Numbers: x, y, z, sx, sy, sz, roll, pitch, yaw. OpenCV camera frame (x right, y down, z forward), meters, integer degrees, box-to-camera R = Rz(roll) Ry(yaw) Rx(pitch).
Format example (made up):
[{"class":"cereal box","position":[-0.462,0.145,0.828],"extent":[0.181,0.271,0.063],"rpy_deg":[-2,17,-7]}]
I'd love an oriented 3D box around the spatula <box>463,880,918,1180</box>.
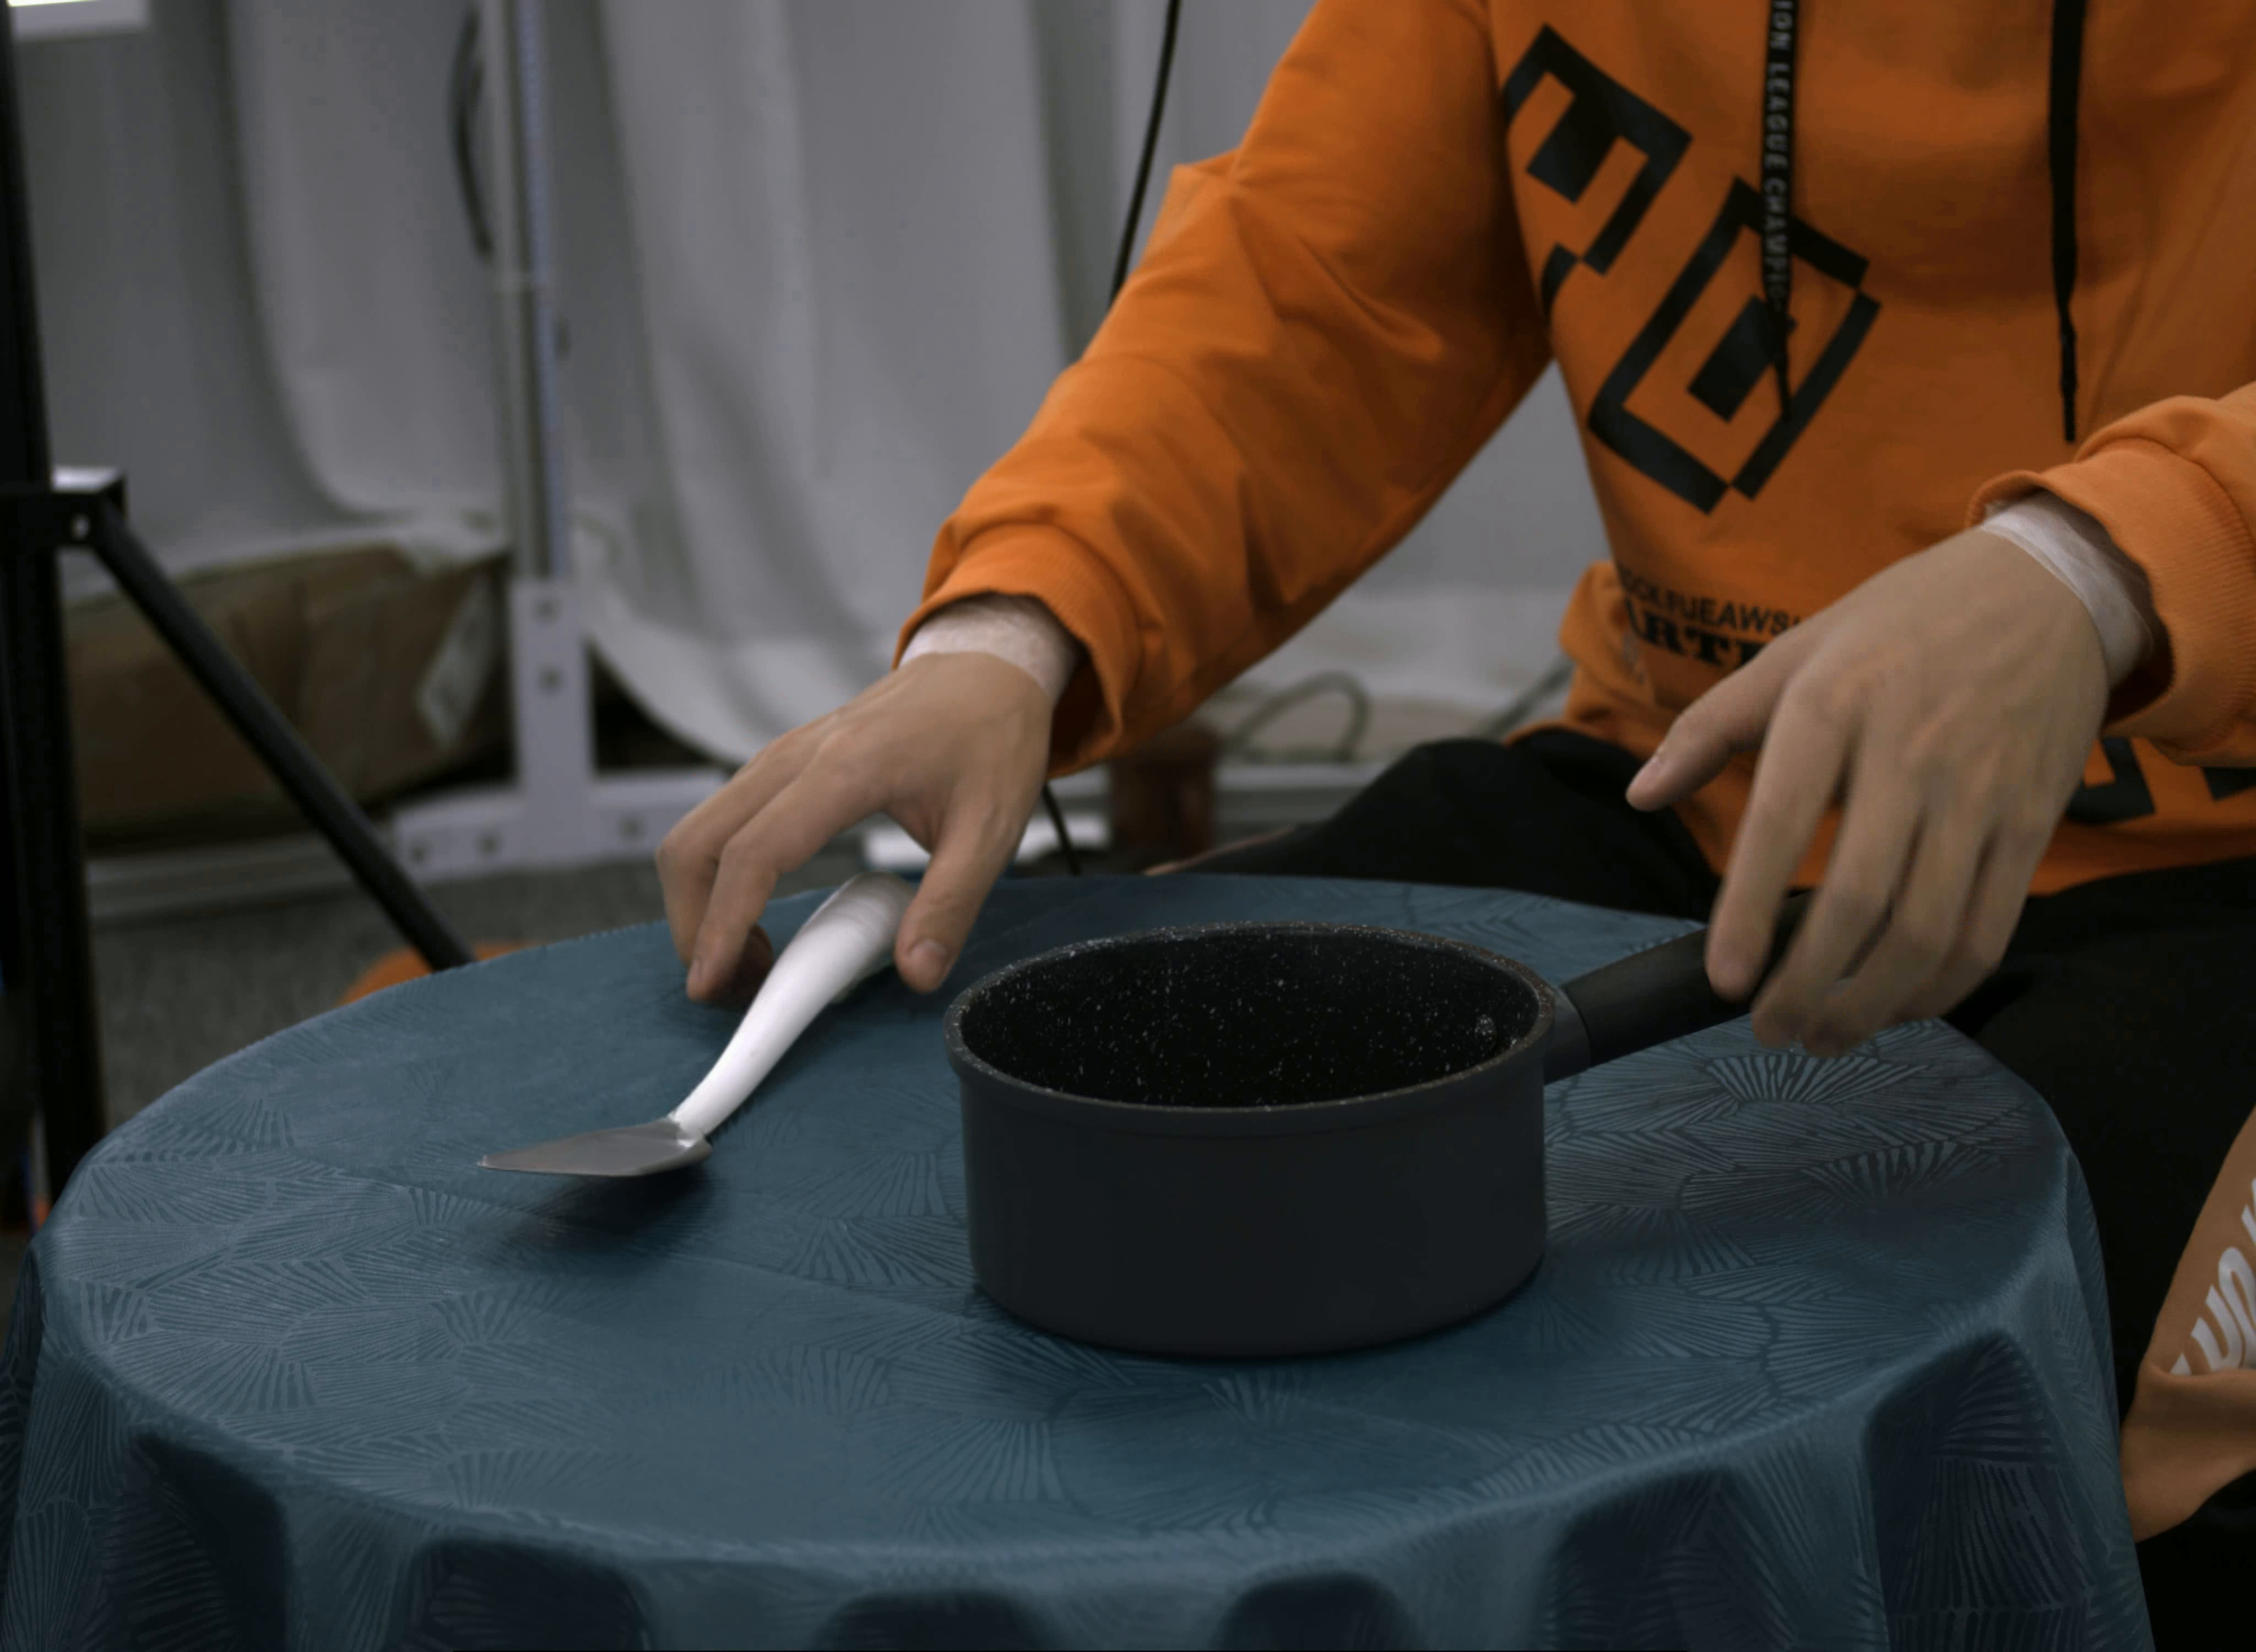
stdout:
[{"class":"spatula","position":[-0.125,0.070,1.654],"extent":[0.059,0.032,0.285],"rpy_deg":[7,17,16]}]

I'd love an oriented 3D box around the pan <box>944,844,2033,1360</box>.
[{"class":"pan","position":[0.109,0.073,1.508],"extent":[0.323,0.086,0.175],"rpy_deg":[-10,18,-18]}]
